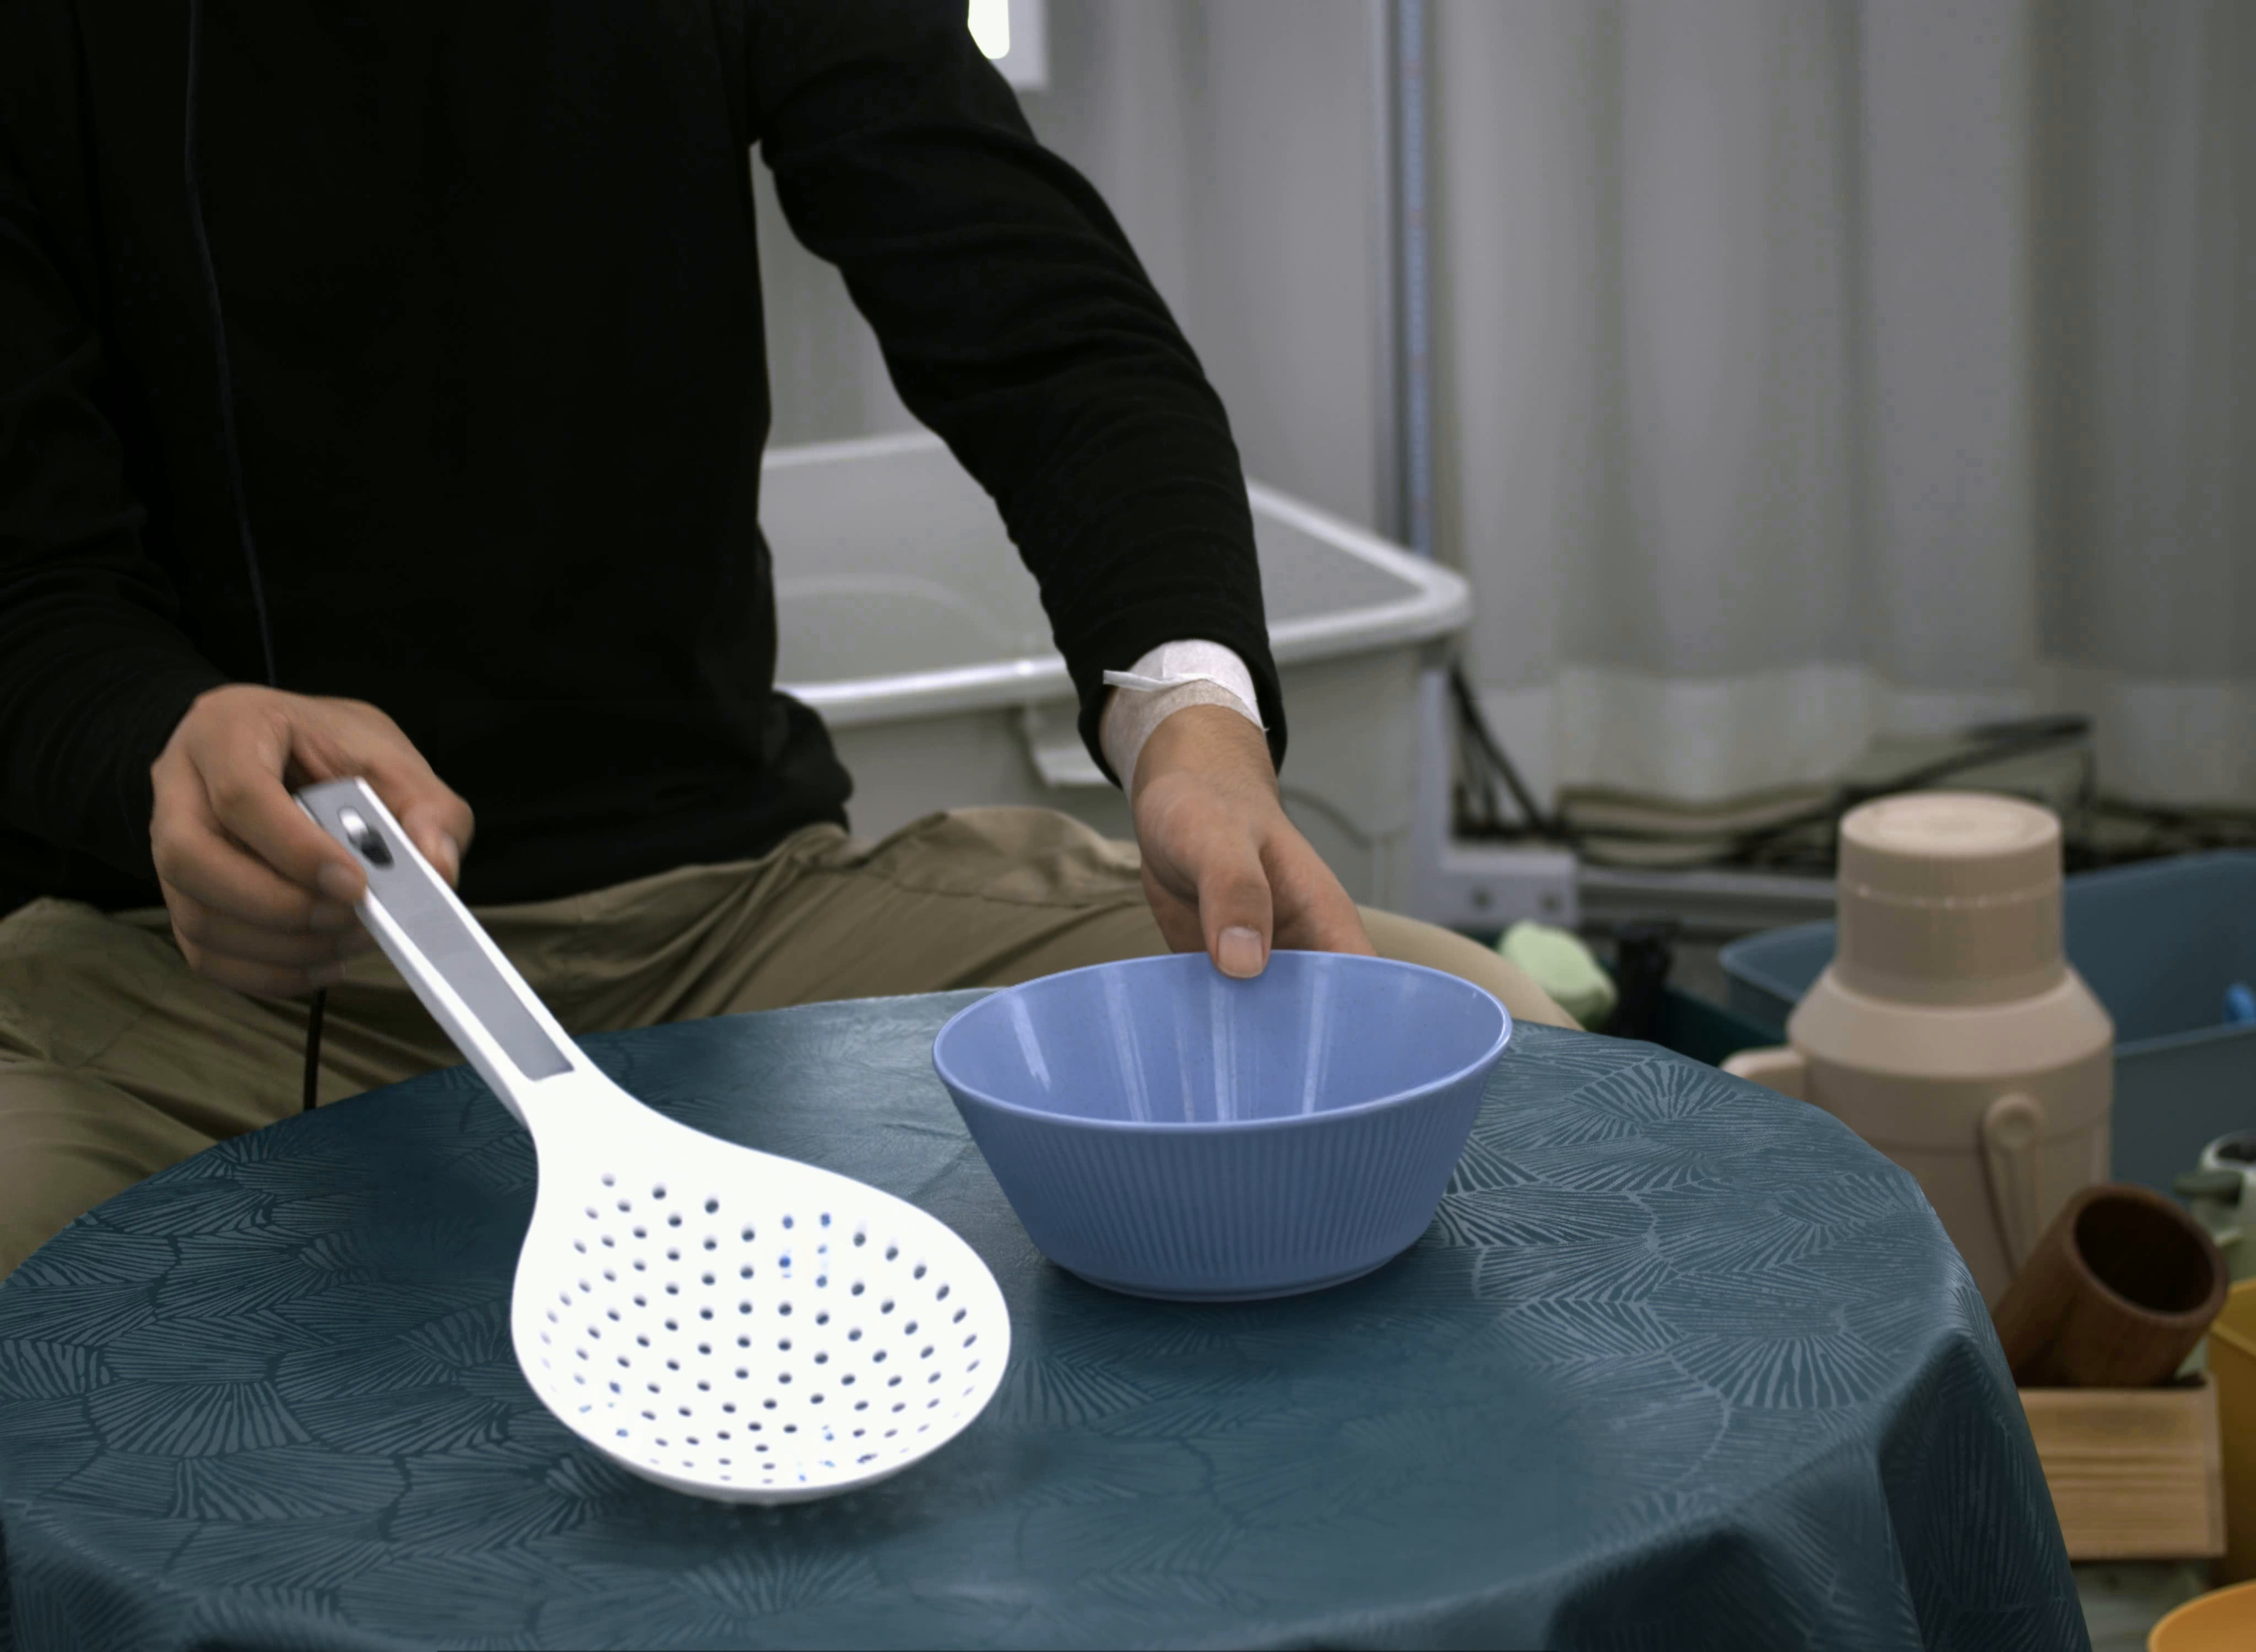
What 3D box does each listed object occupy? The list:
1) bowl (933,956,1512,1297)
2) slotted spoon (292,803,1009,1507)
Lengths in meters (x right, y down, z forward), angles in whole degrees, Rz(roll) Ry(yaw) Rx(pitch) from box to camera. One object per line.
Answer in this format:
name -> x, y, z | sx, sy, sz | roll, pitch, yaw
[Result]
bowl -> 0.030, 0.093, 1.654 | 0.175, 0.070, 0.177 | -3, 14, 0
slotted spoon -> -0.157, 0.088, 1.569 | 0.135, 0.045, 0.354 | -16, 43, -27
